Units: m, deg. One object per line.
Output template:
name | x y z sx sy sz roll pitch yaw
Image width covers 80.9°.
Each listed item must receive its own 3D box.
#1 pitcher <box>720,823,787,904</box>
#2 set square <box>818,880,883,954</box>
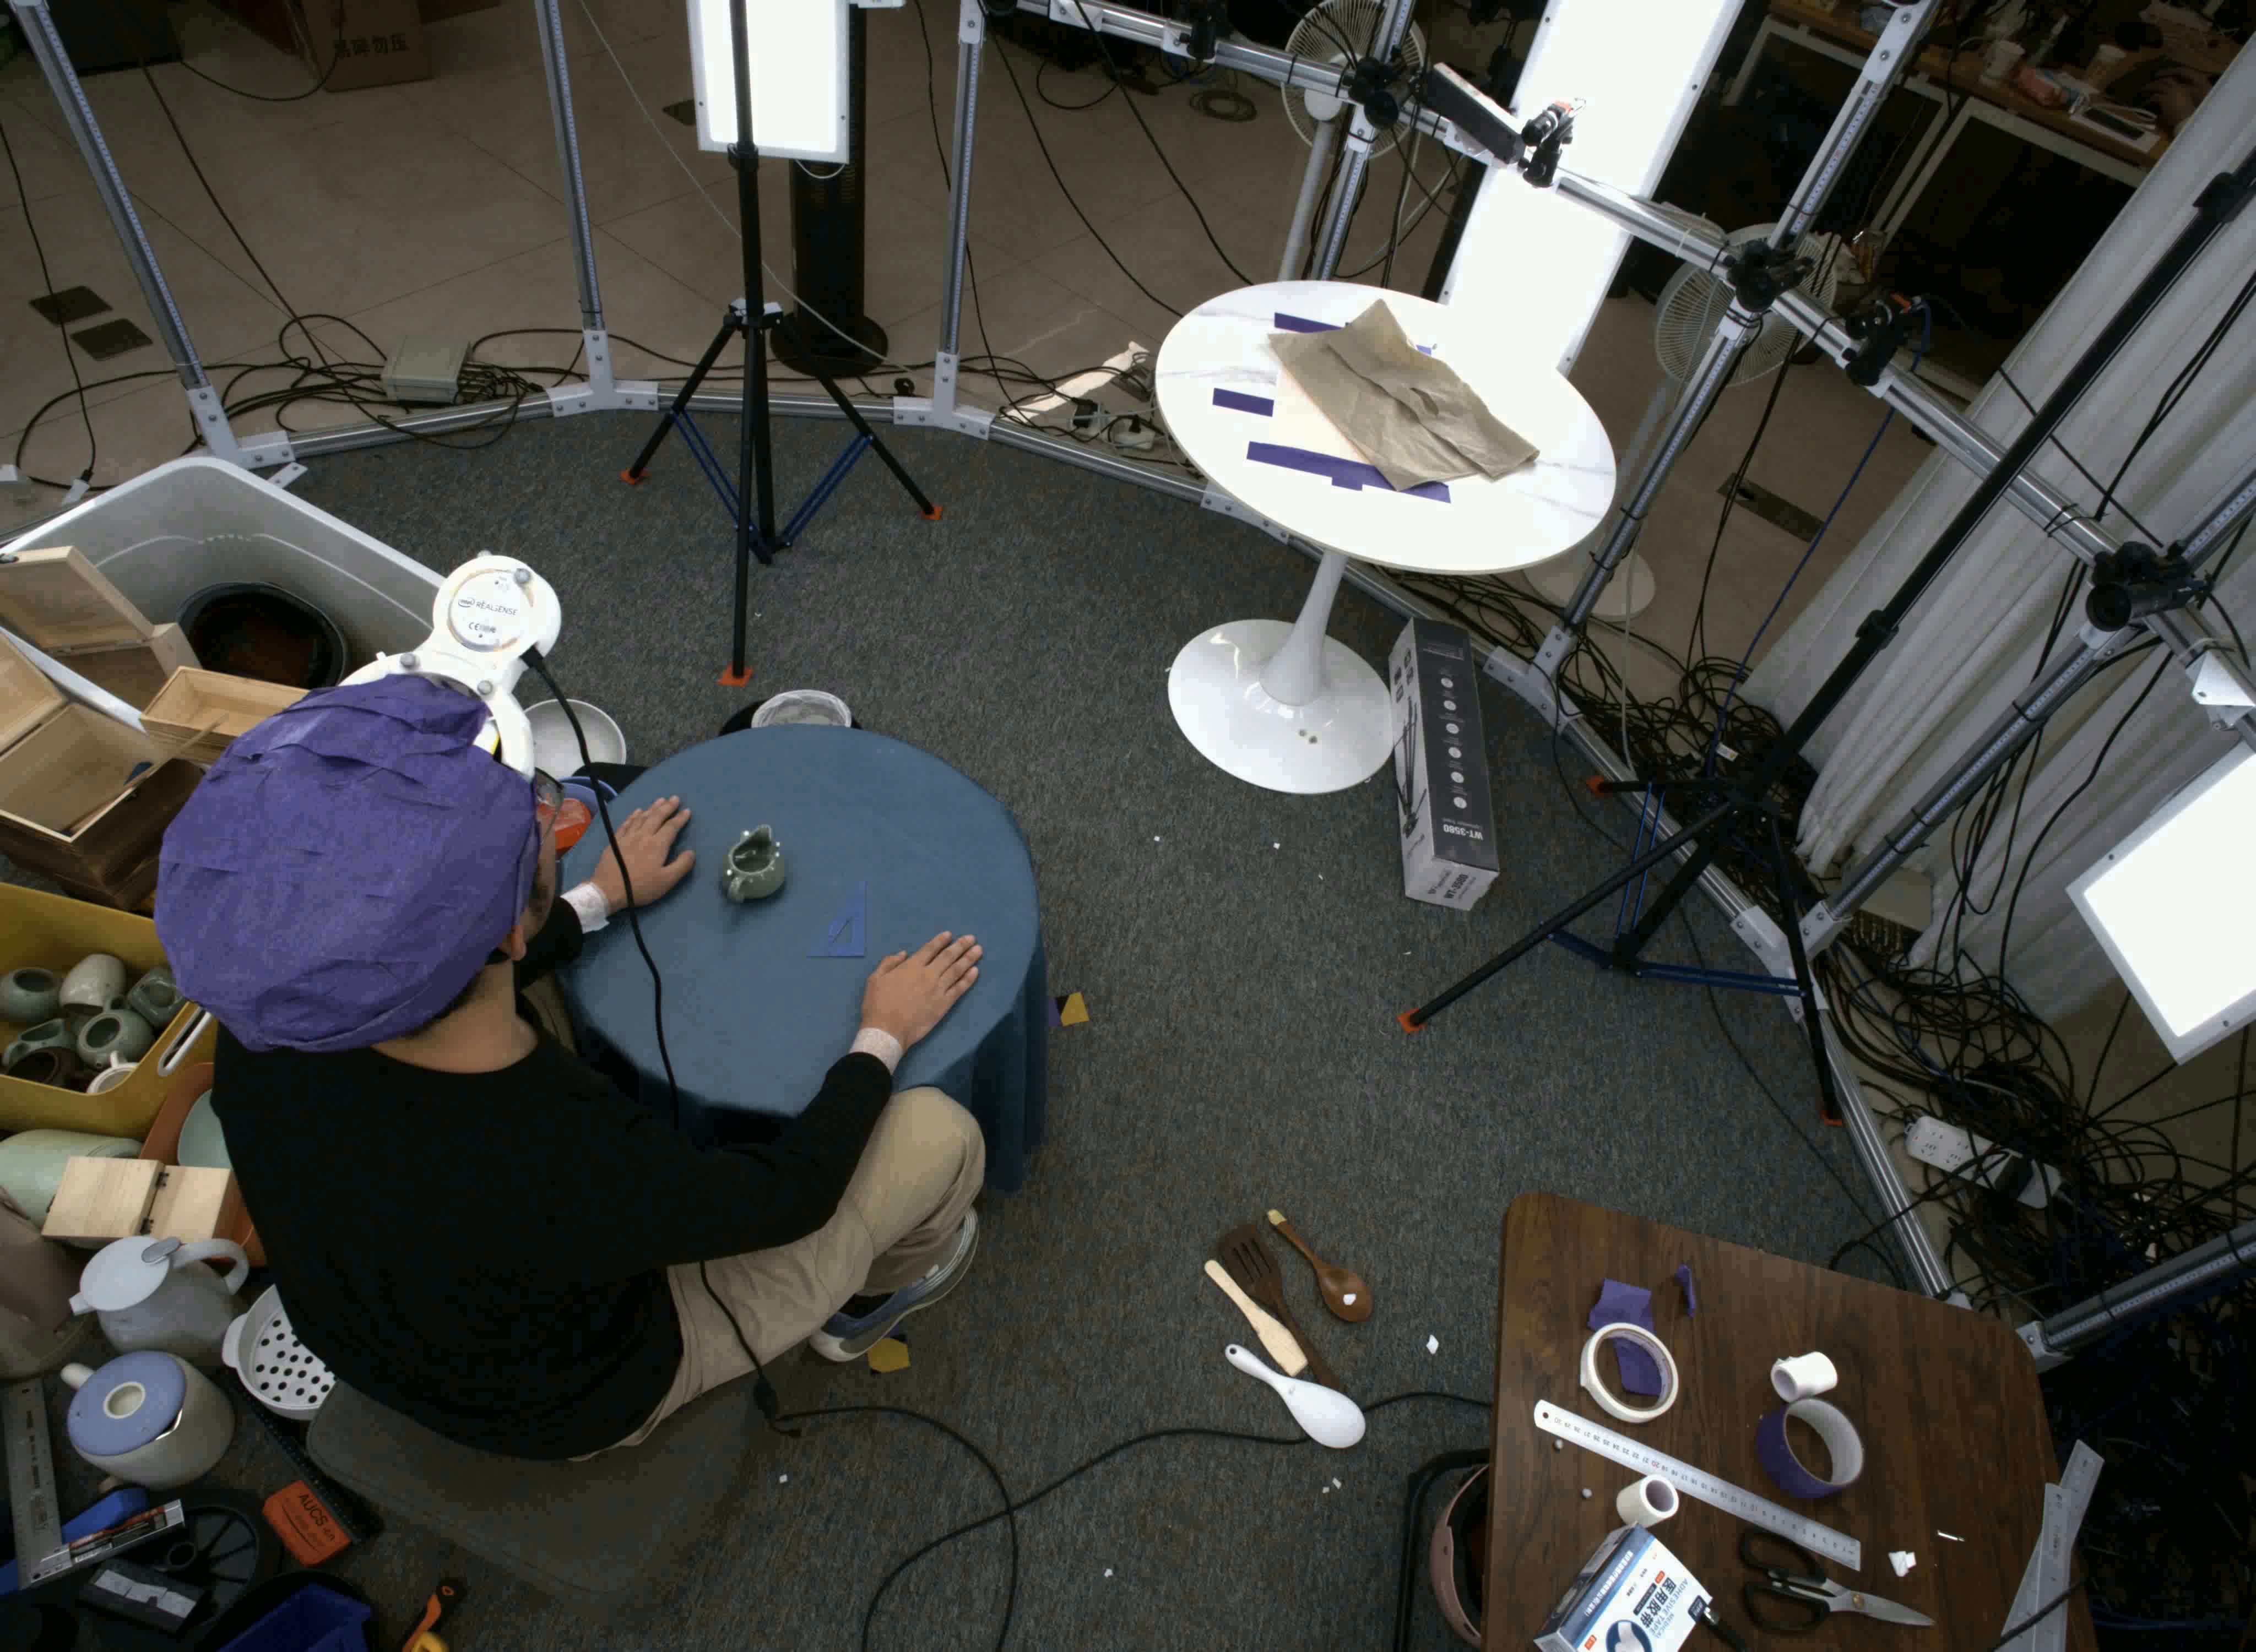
pitcher | -0.476 0.054 1.629 0.083 0.057 0.111 14 51 0
set square | -0.334 0.120 1.650 0.060 0.007 0.131 28 52 8
